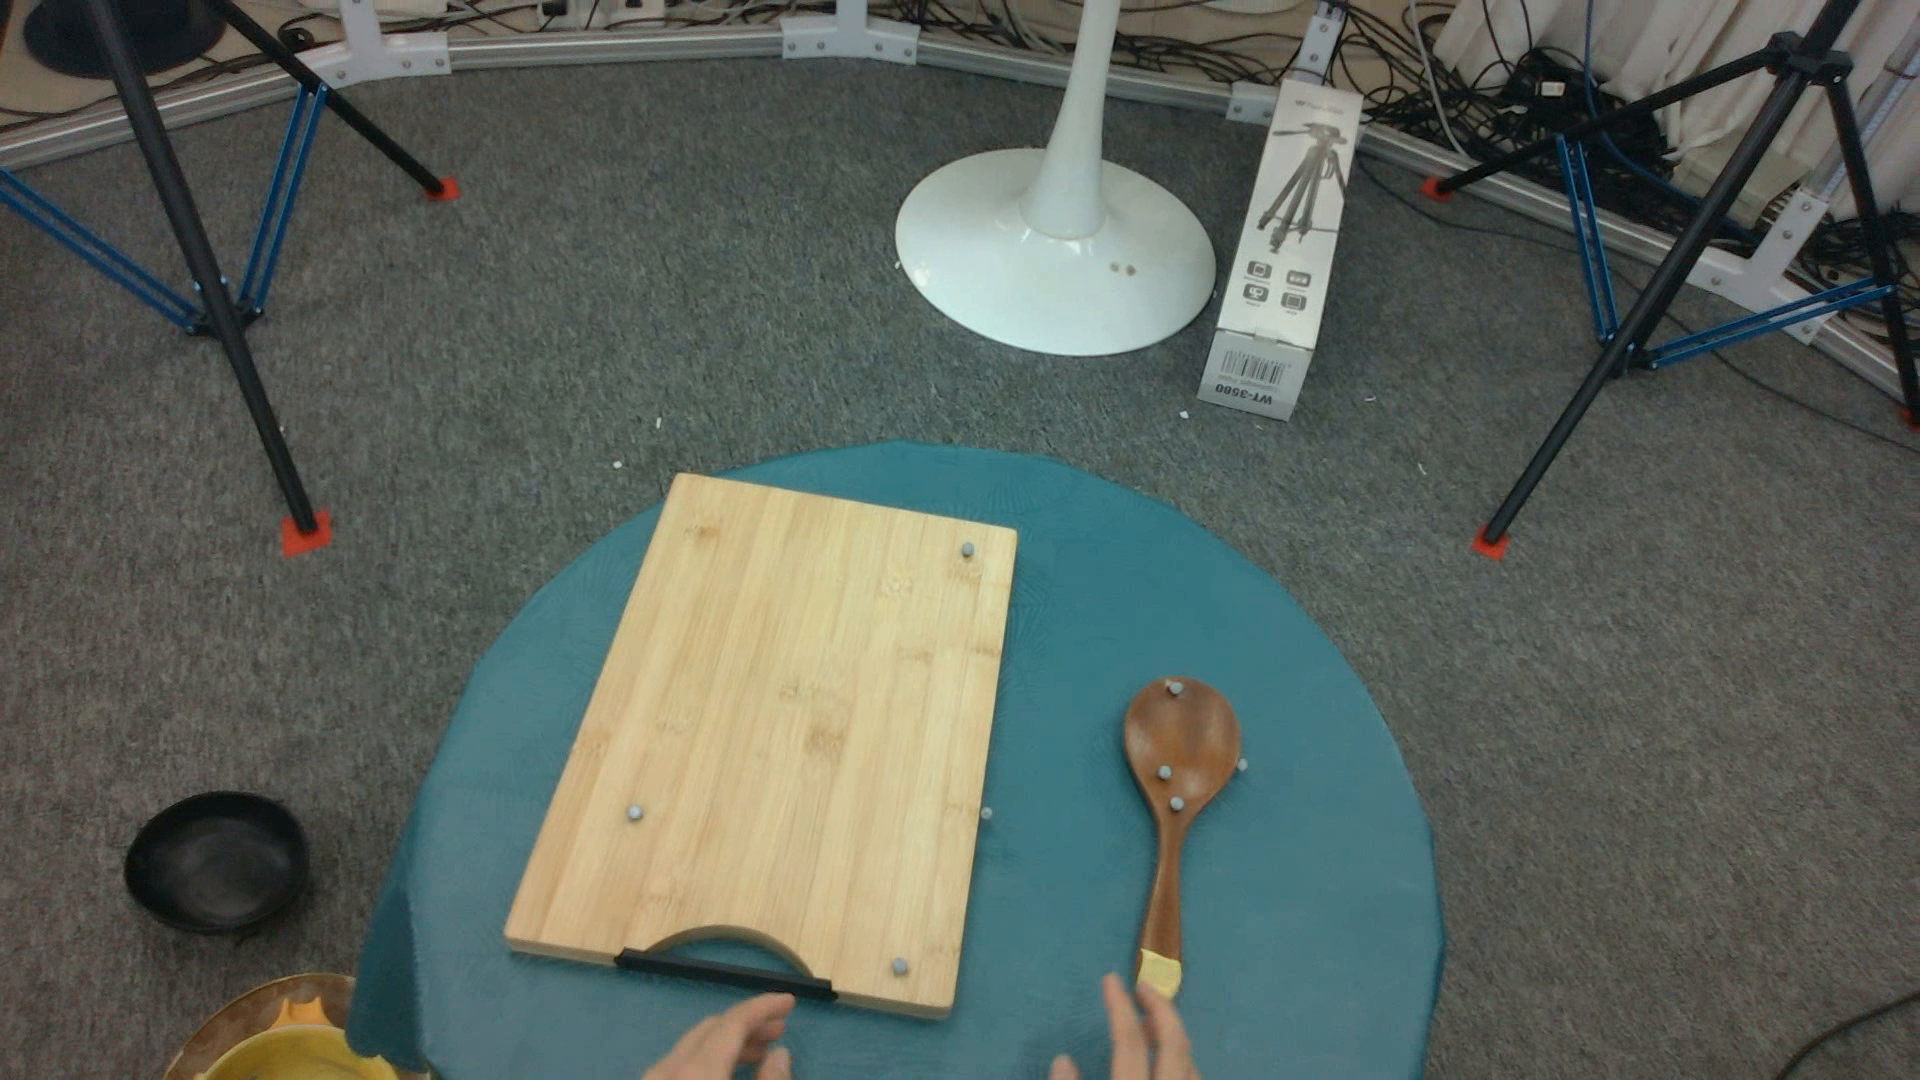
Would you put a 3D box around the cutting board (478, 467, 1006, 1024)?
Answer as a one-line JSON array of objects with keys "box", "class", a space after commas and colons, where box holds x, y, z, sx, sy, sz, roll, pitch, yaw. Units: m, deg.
[{"box": [-0.111, 0.104, 0.836, 0.251, 0.023, 0.350, 9, 49, -1], "class": "cutting board"}]

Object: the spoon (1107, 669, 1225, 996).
[{"box": [0.117, 0.167, 0.818, 0.075, 0.017, 0.217, 13, 49, 0], "class": "spoon"}]
